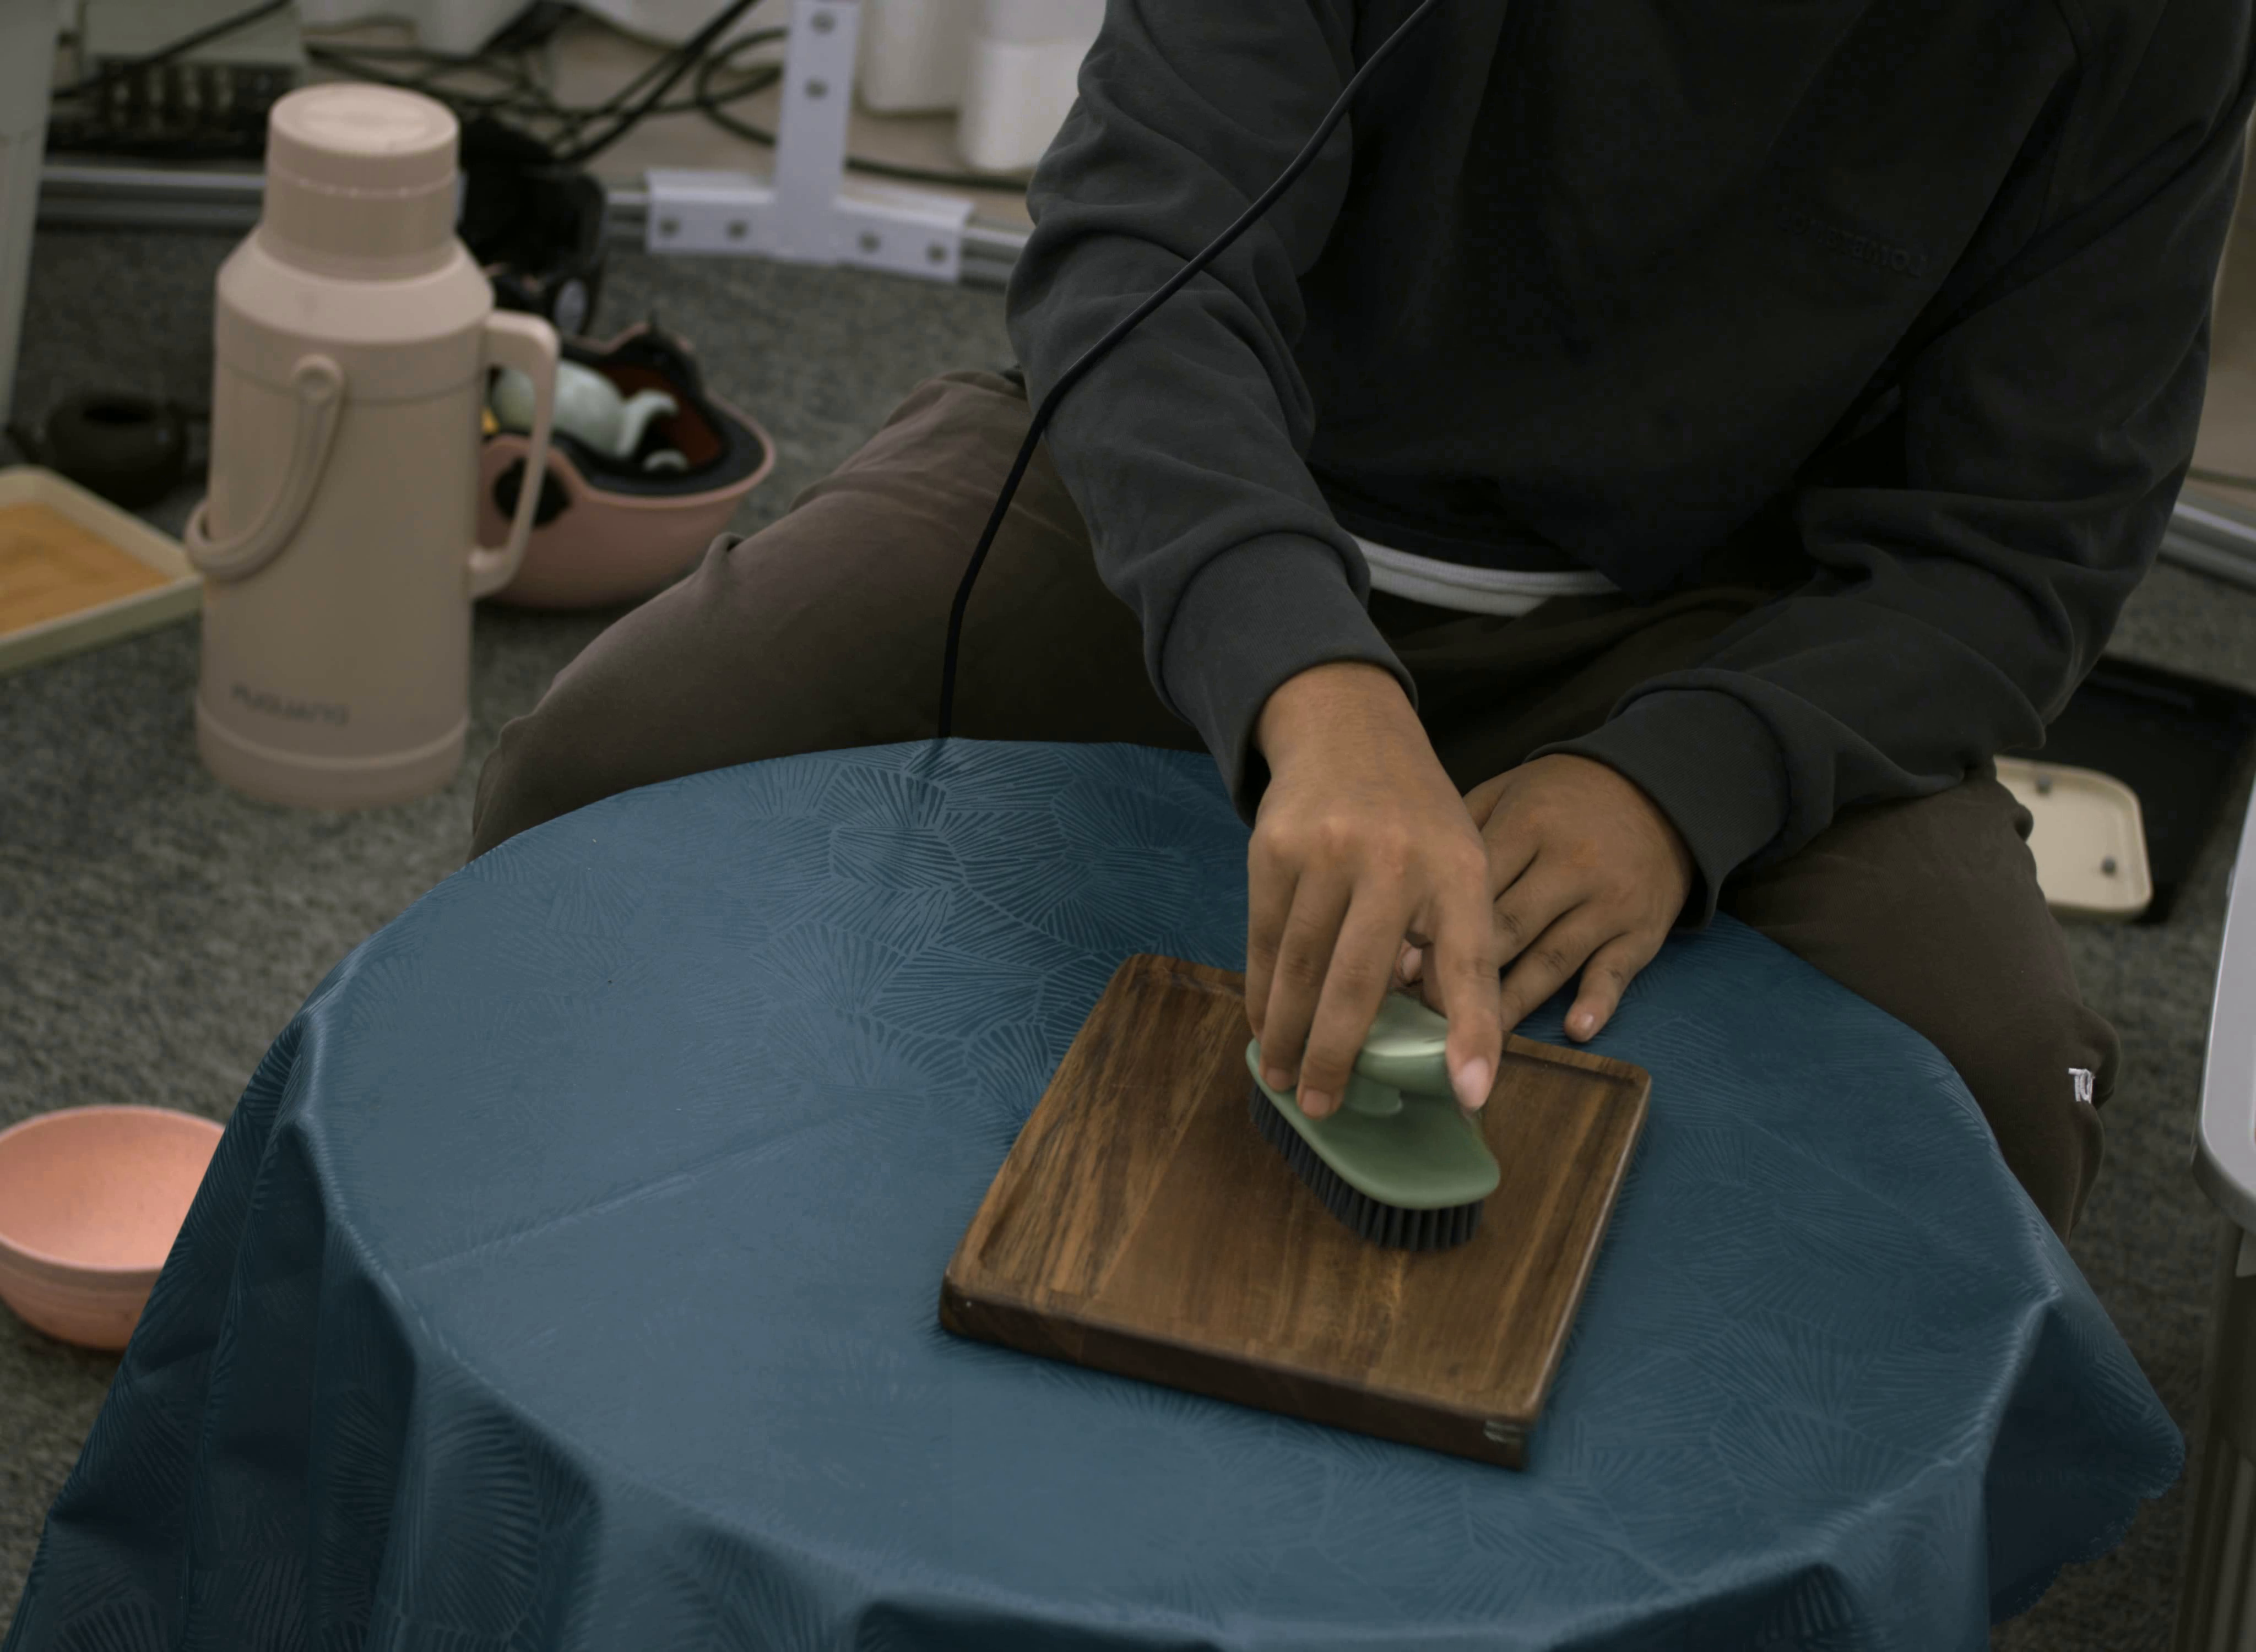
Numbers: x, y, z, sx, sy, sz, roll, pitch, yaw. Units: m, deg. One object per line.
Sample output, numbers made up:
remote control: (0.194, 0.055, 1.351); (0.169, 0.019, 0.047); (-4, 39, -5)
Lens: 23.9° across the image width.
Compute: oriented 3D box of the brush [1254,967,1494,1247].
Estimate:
brush: (0.084, 0.093, 1.799); (0.059, 0.076, 0.124); (-1, 12, -23)

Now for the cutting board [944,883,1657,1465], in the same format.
cutting board: (0.076, 0.103, 1.842); (0.201, 0.023, 0.353); (13, 27, 11)
